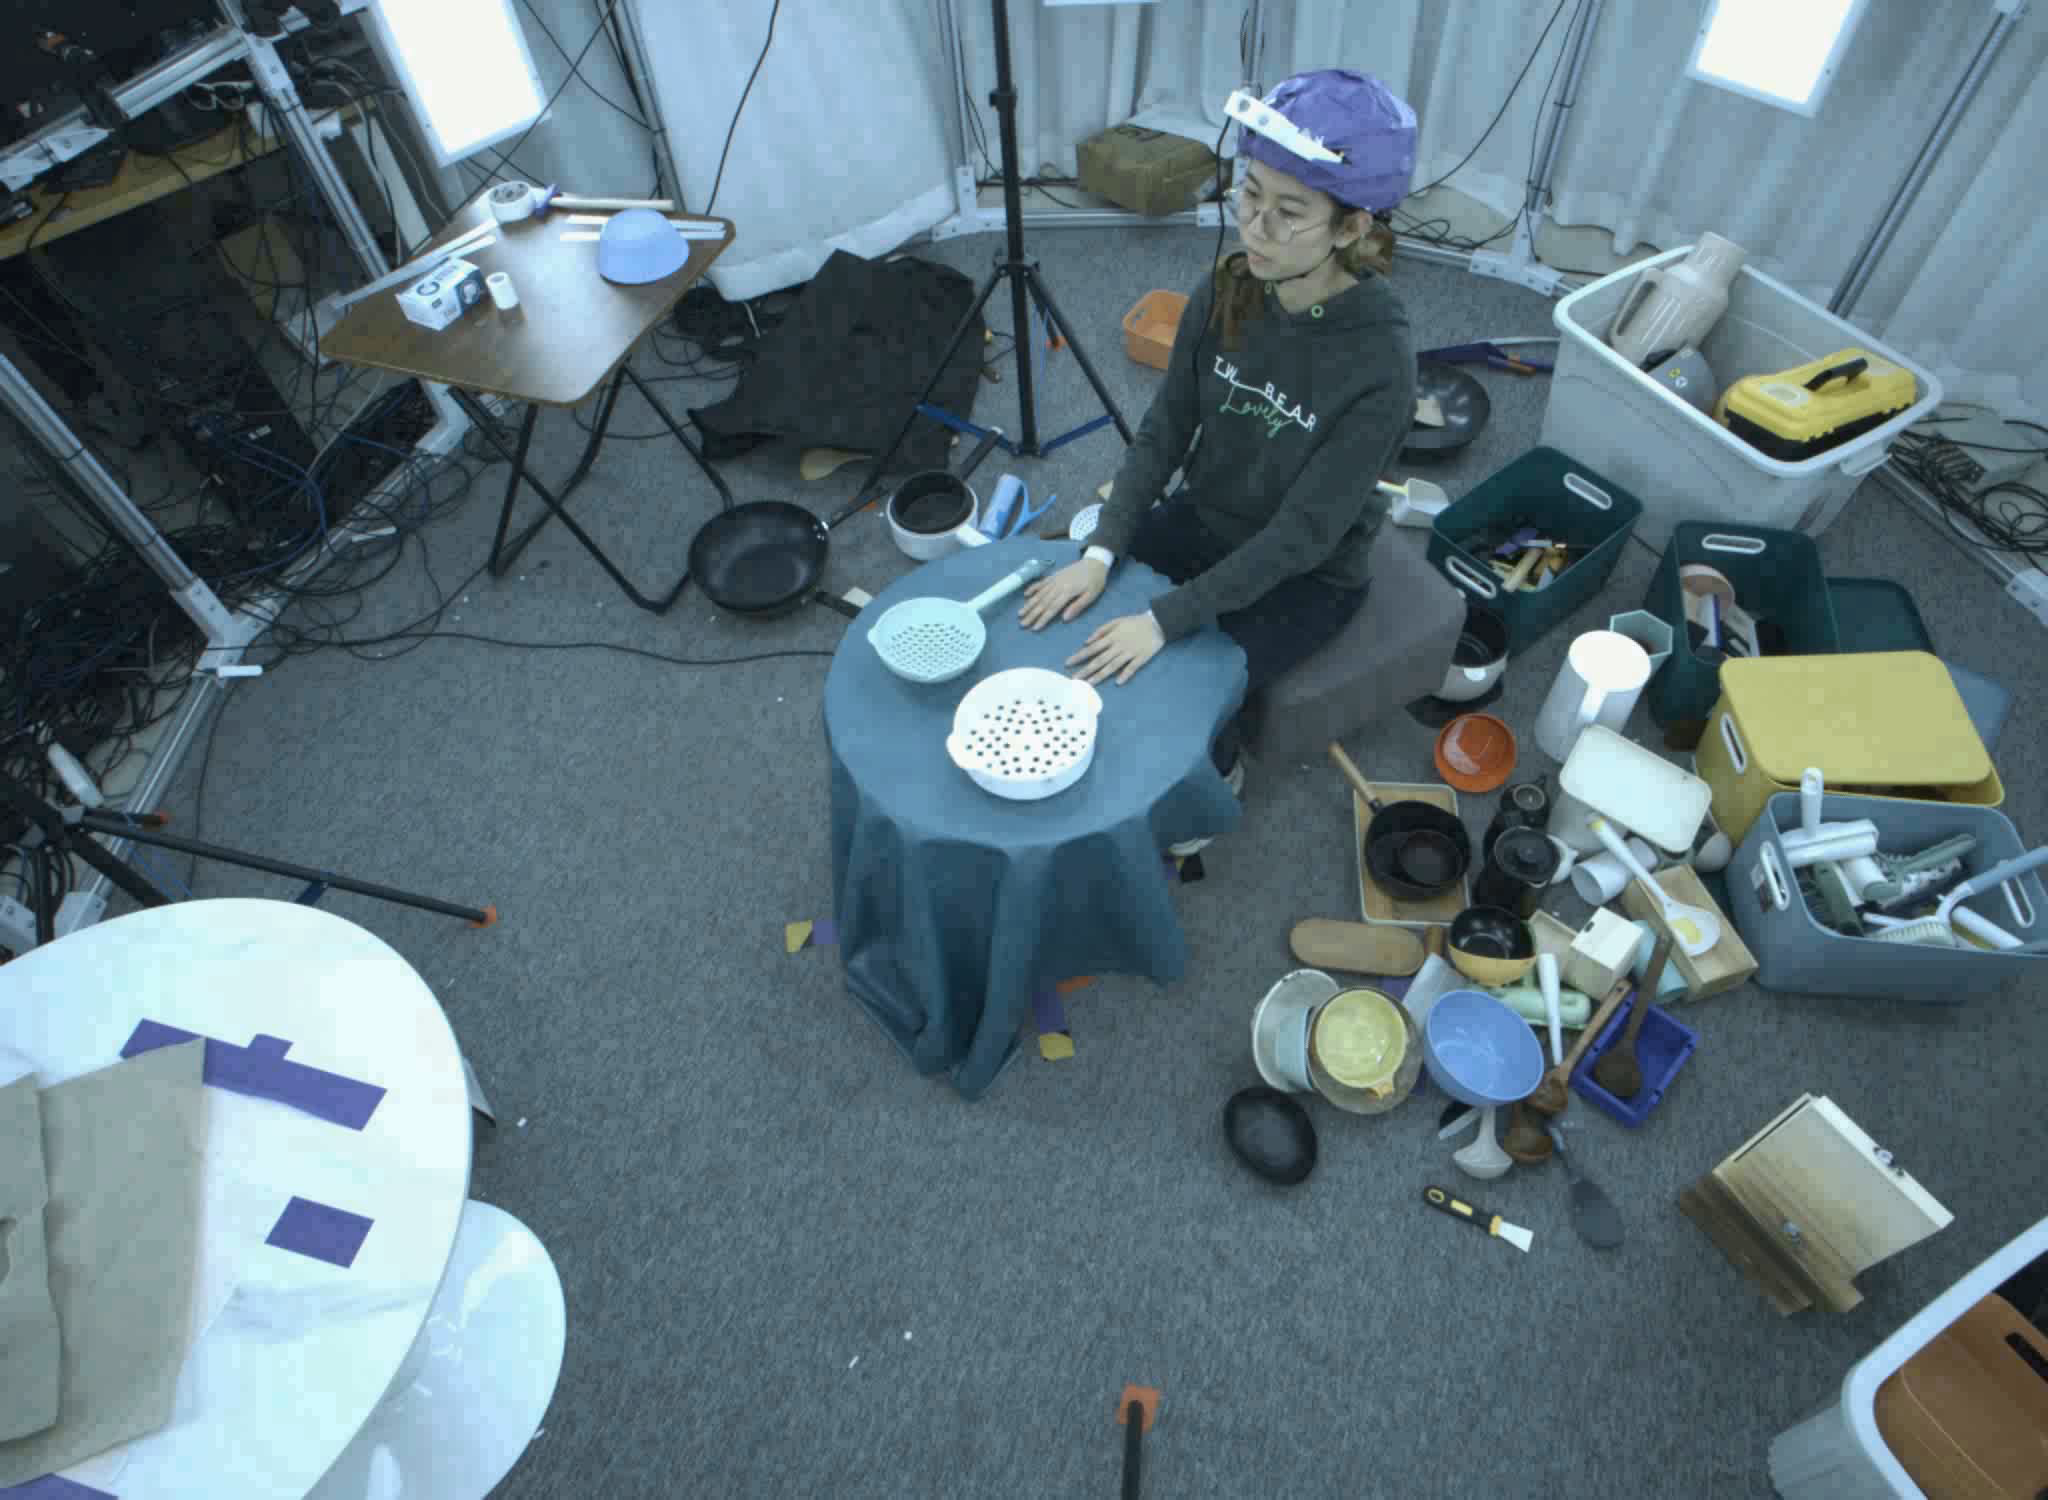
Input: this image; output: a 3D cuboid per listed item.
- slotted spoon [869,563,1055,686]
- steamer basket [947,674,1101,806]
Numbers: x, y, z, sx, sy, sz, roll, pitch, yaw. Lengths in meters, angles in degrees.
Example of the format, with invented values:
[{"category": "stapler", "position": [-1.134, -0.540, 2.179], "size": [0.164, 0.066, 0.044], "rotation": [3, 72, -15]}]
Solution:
[{"category": "slotted spoon", "position": [-0.076, -0.213, 1.911], "size": [0.166, 0.076, 0.361], "rotation": [36, 63, 23]}, {"category": "steamer basket", "position": [0.002, -0.012, 1.767], "size": [0.232, 0.070, 0.198], "rotation": [-25, 59, -15]}]
